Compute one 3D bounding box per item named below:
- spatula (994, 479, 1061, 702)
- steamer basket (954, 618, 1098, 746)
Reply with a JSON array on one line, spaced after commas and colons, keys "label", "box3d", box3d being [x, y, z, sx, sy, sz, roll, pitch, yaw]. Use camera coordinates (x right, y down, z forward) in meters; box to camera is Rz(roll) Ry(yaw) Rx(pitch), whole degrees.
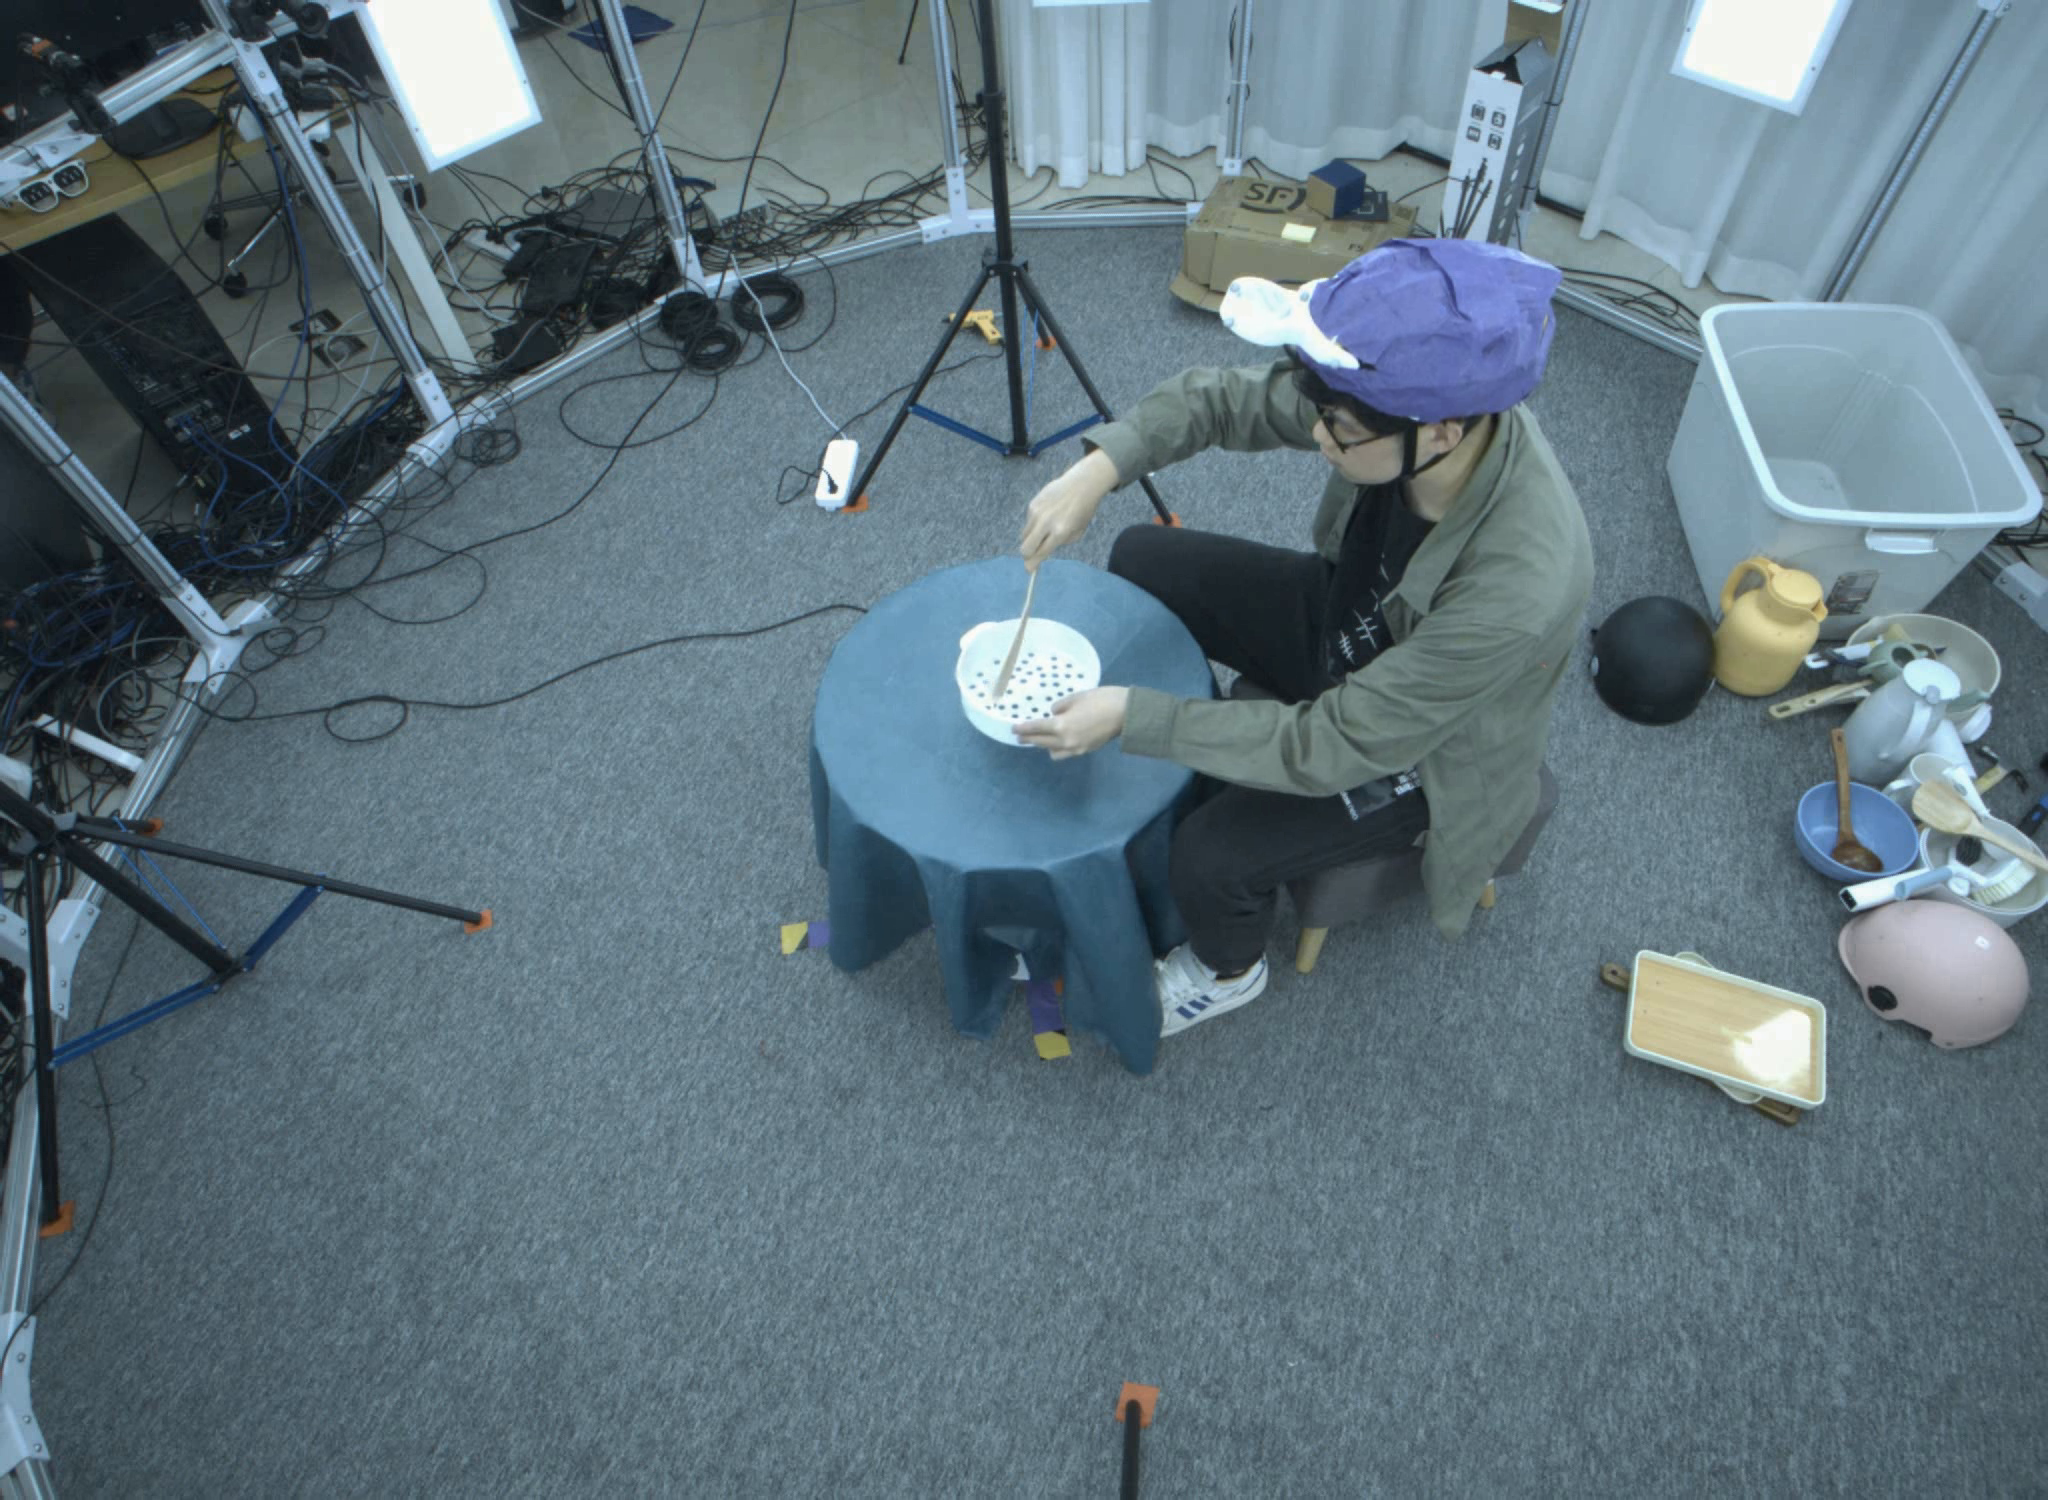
[{"label": "spatula", "box3d": [0.005, -0.227, 1.708, 0.016, 0.080, 0.327, 13, 82, 6]}, {"label": "steamer basket", "box3d": [0.003, -0.095, 1.743, 0.226, 0.070, 0.203, 37, 60, 24]}]
